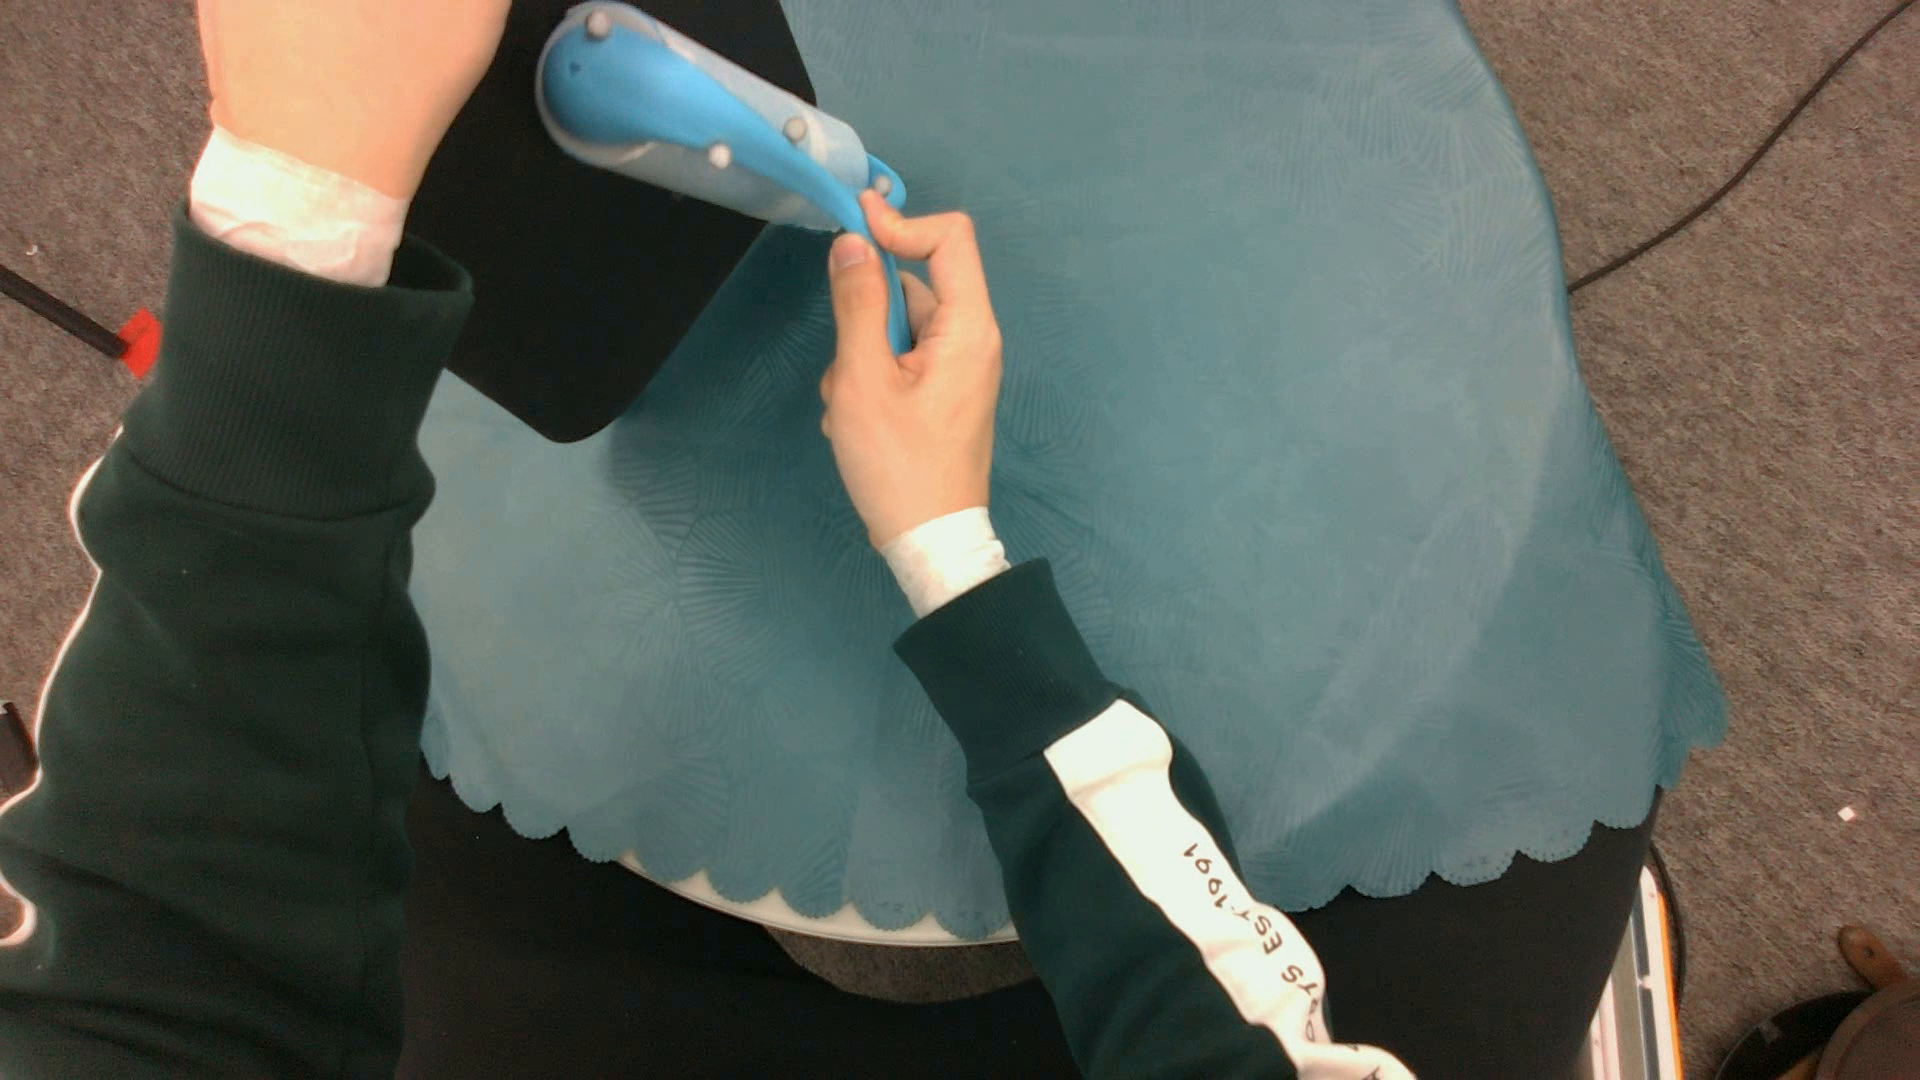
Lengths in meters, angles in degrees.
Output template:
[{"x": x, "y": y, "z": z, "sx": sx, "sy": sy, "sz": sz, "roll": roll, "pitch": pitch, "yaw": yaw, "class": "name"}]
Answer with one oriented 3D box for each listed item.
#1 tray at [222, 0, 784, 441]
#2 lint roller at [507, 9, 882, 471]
[{"x": -0.152, "y": -0.156, "z": 0.535, "sx": 0.010, "sy": 0.325, "sz": 0.211, "roll": 33, "pitch": 84, "yaw": 9, "class": "tray"}, {"x": -0.072, "y": -0.119, "z": 0.562, "sx": 0.068, "sy": 0.229, "sz": 0.180, "roll": -36, "pitch": 89, "yaw": 15, "class": "lint roller"}]
